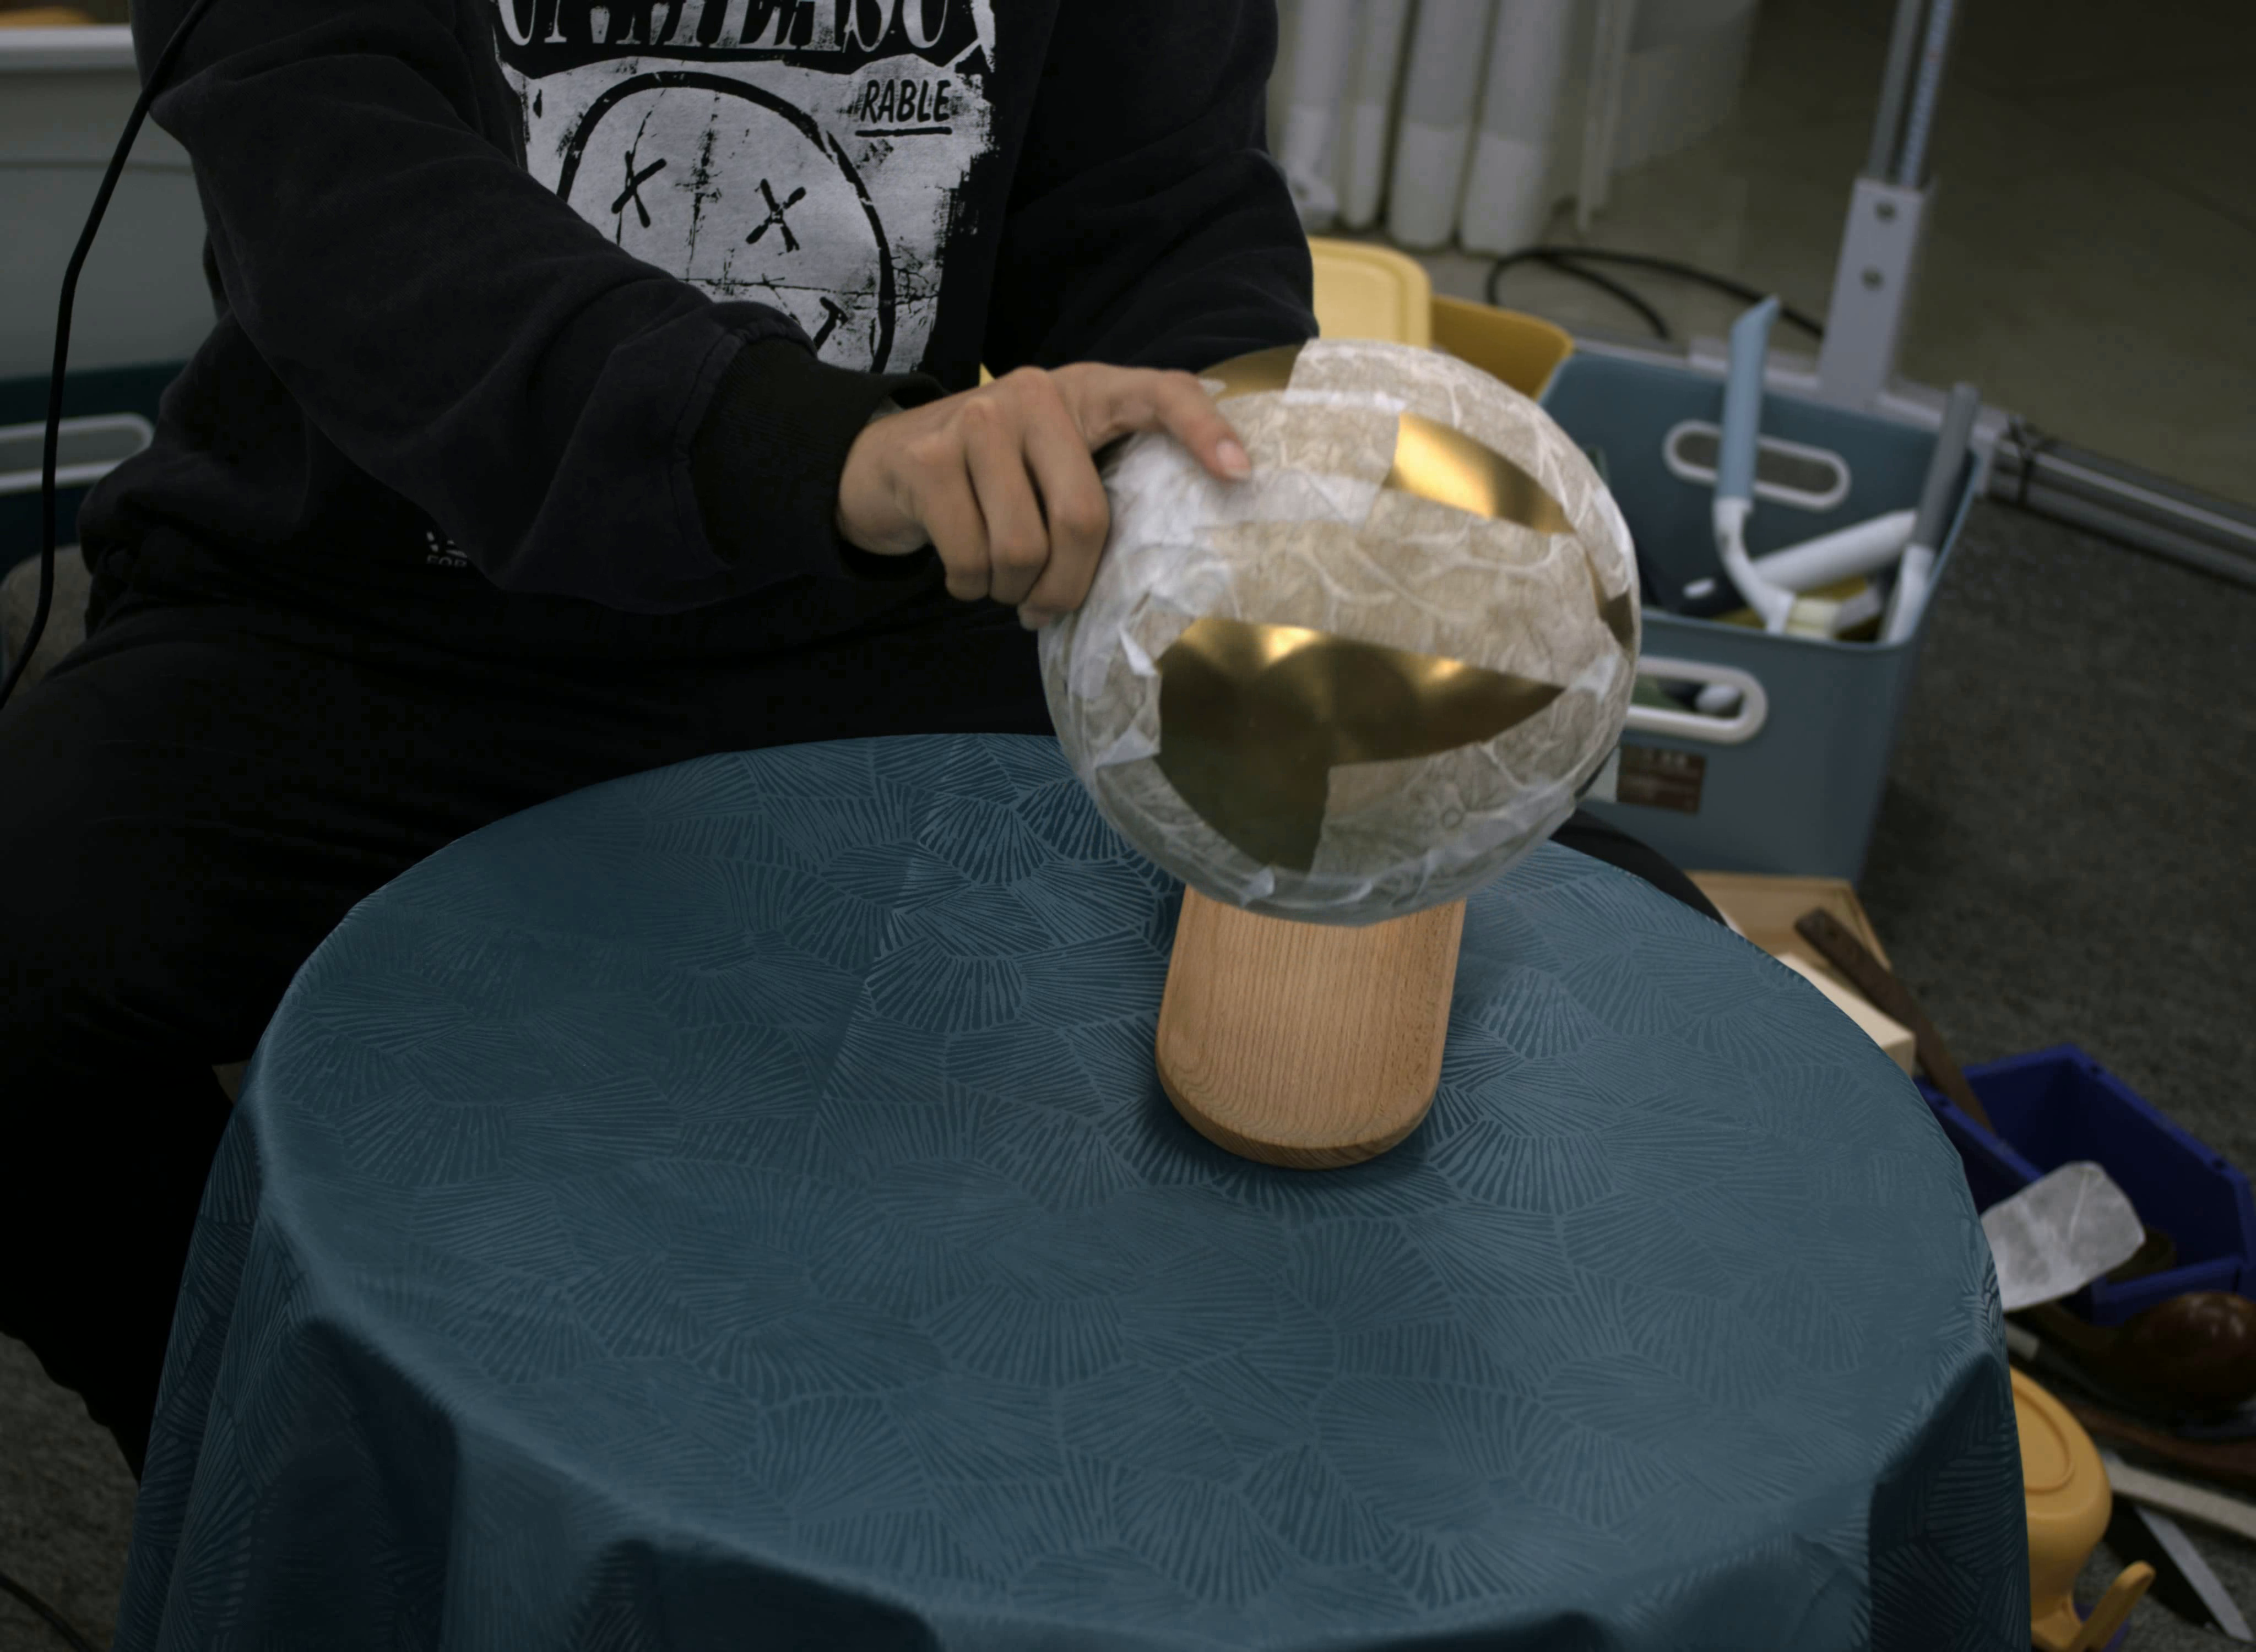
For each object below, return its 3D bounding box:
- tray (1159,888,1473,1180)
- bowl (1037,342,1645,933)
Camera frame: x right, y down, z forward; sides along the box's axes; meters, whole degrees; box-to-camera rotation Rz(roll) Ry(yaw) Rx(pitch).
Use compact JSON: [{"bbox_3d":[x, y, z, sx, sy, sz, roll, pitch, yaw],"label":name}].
[{"bbox_3d":[0.069,0.042,1.901,0.101,0.020,0.232,9,42,3],"label":"tray"},{"bbox_3d":[0.067,-0.044,1.731,0.214,0.214,0.095,7,24,0],"label":"bowl"}]
